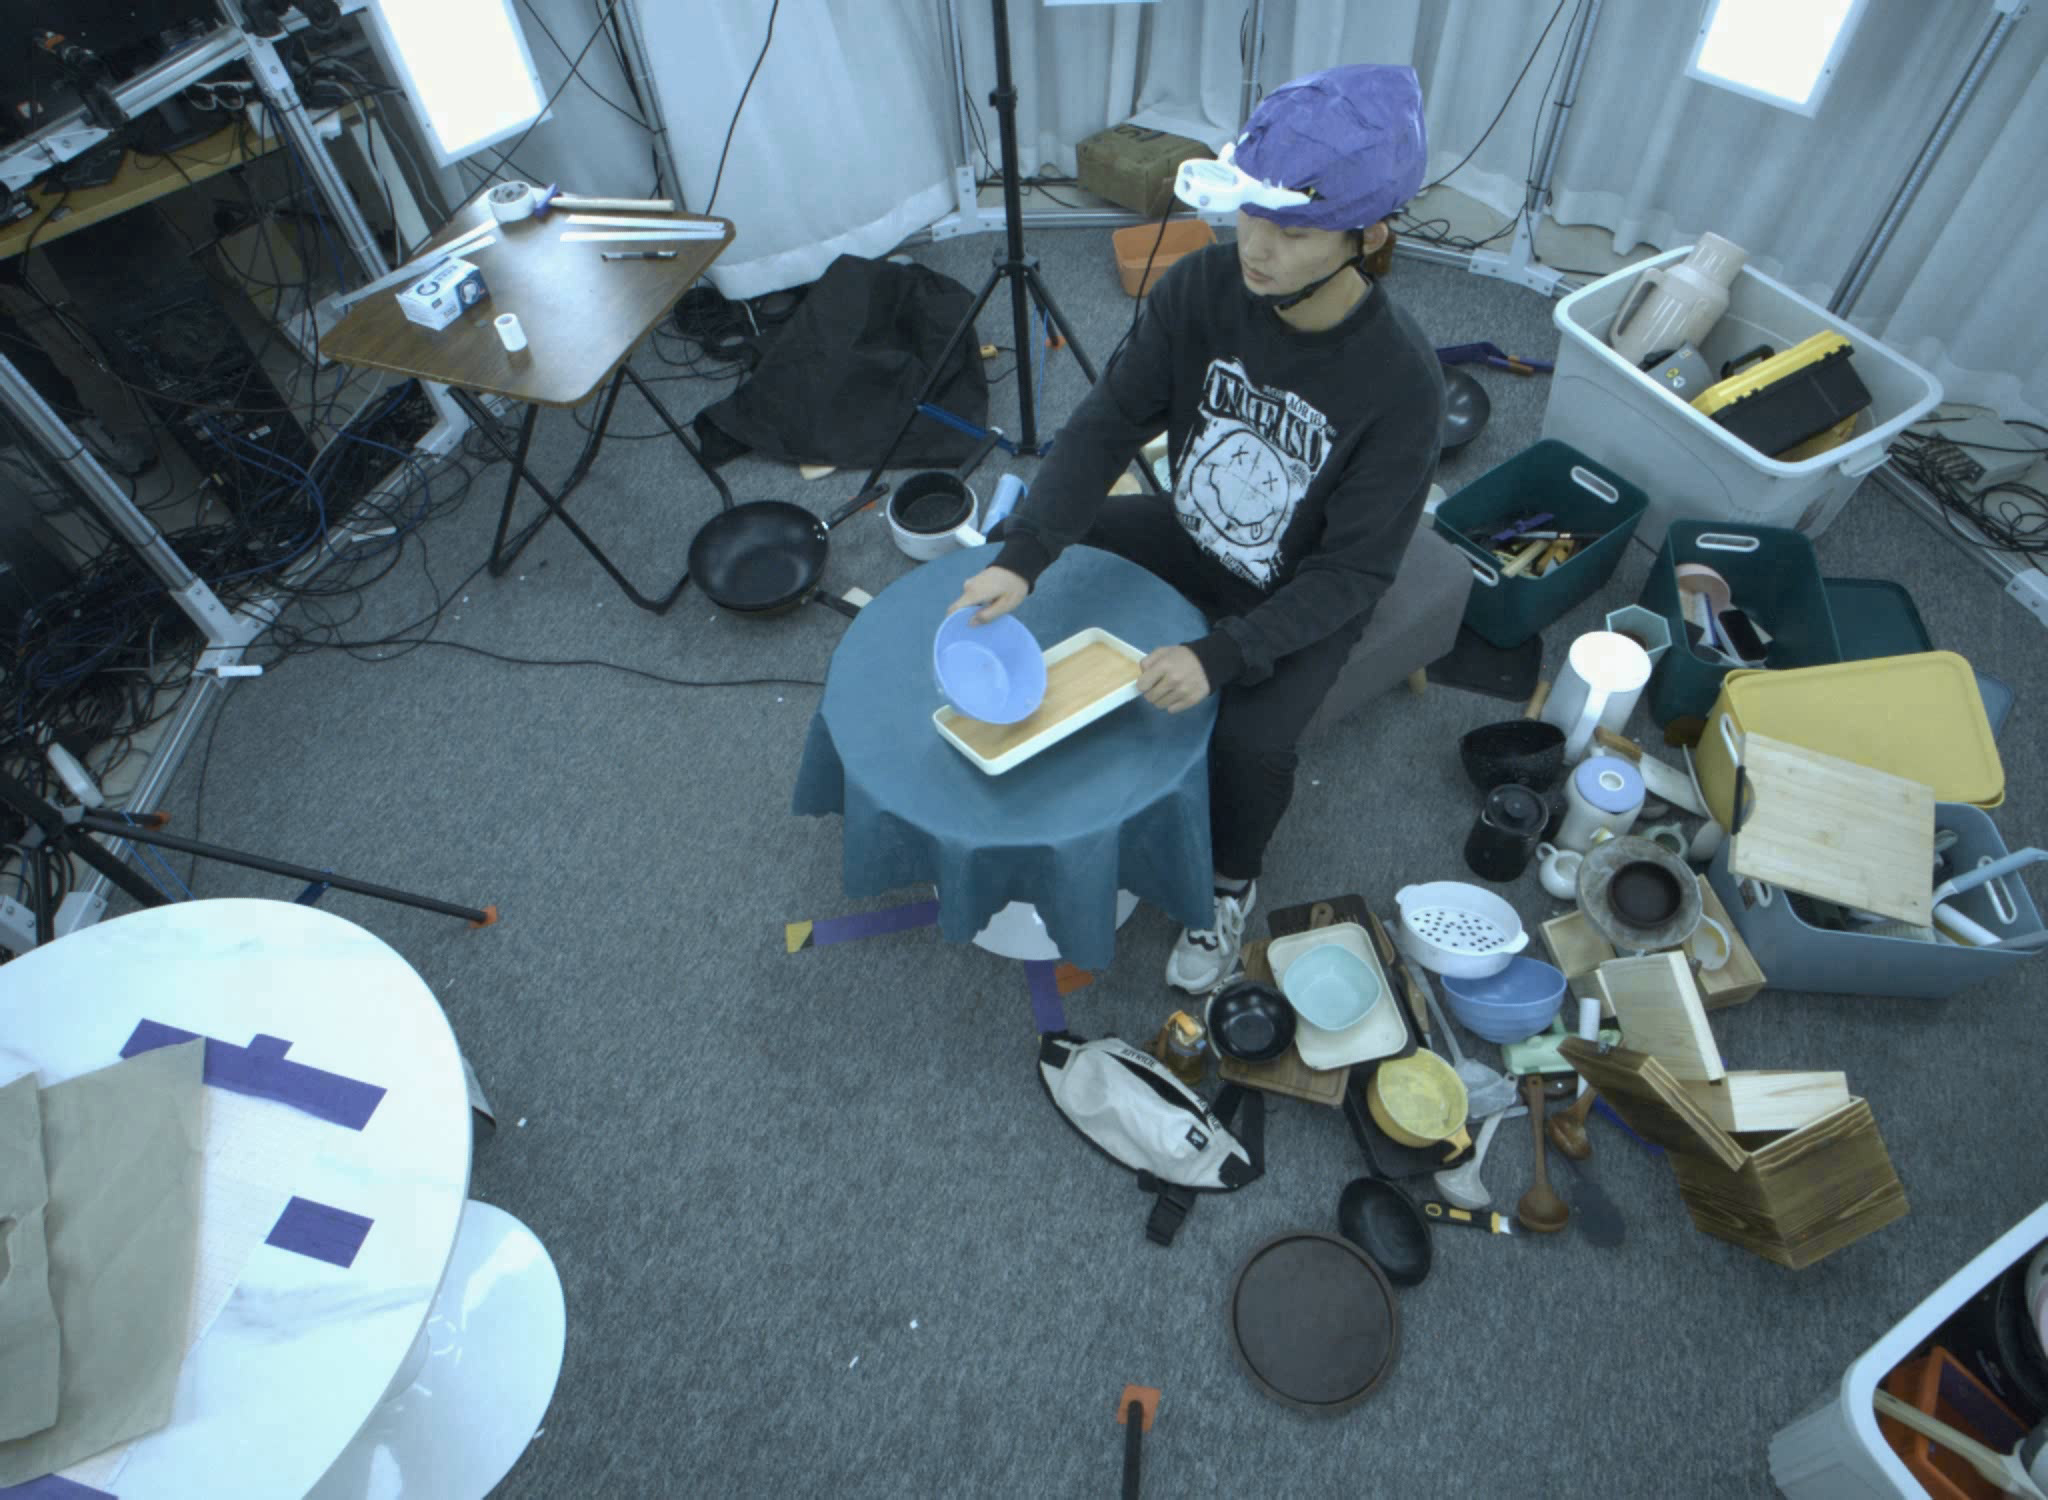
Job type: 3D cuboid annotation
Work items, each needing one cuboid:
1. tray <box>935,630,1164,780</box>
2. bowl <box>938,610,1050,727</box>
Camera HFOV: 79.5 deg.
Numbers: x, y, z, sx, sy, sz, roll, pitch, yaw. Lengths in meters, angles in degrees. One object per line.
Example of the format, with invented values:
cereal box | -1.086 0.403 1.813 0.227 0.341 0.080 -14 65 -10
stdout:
tray | 0.036 -0.071 1.789 0.302 0.028 0.187 -30 36 -17
bowl | -0.055 -0.104 1.731 0.179 0.069 0.175 13 66 -28
